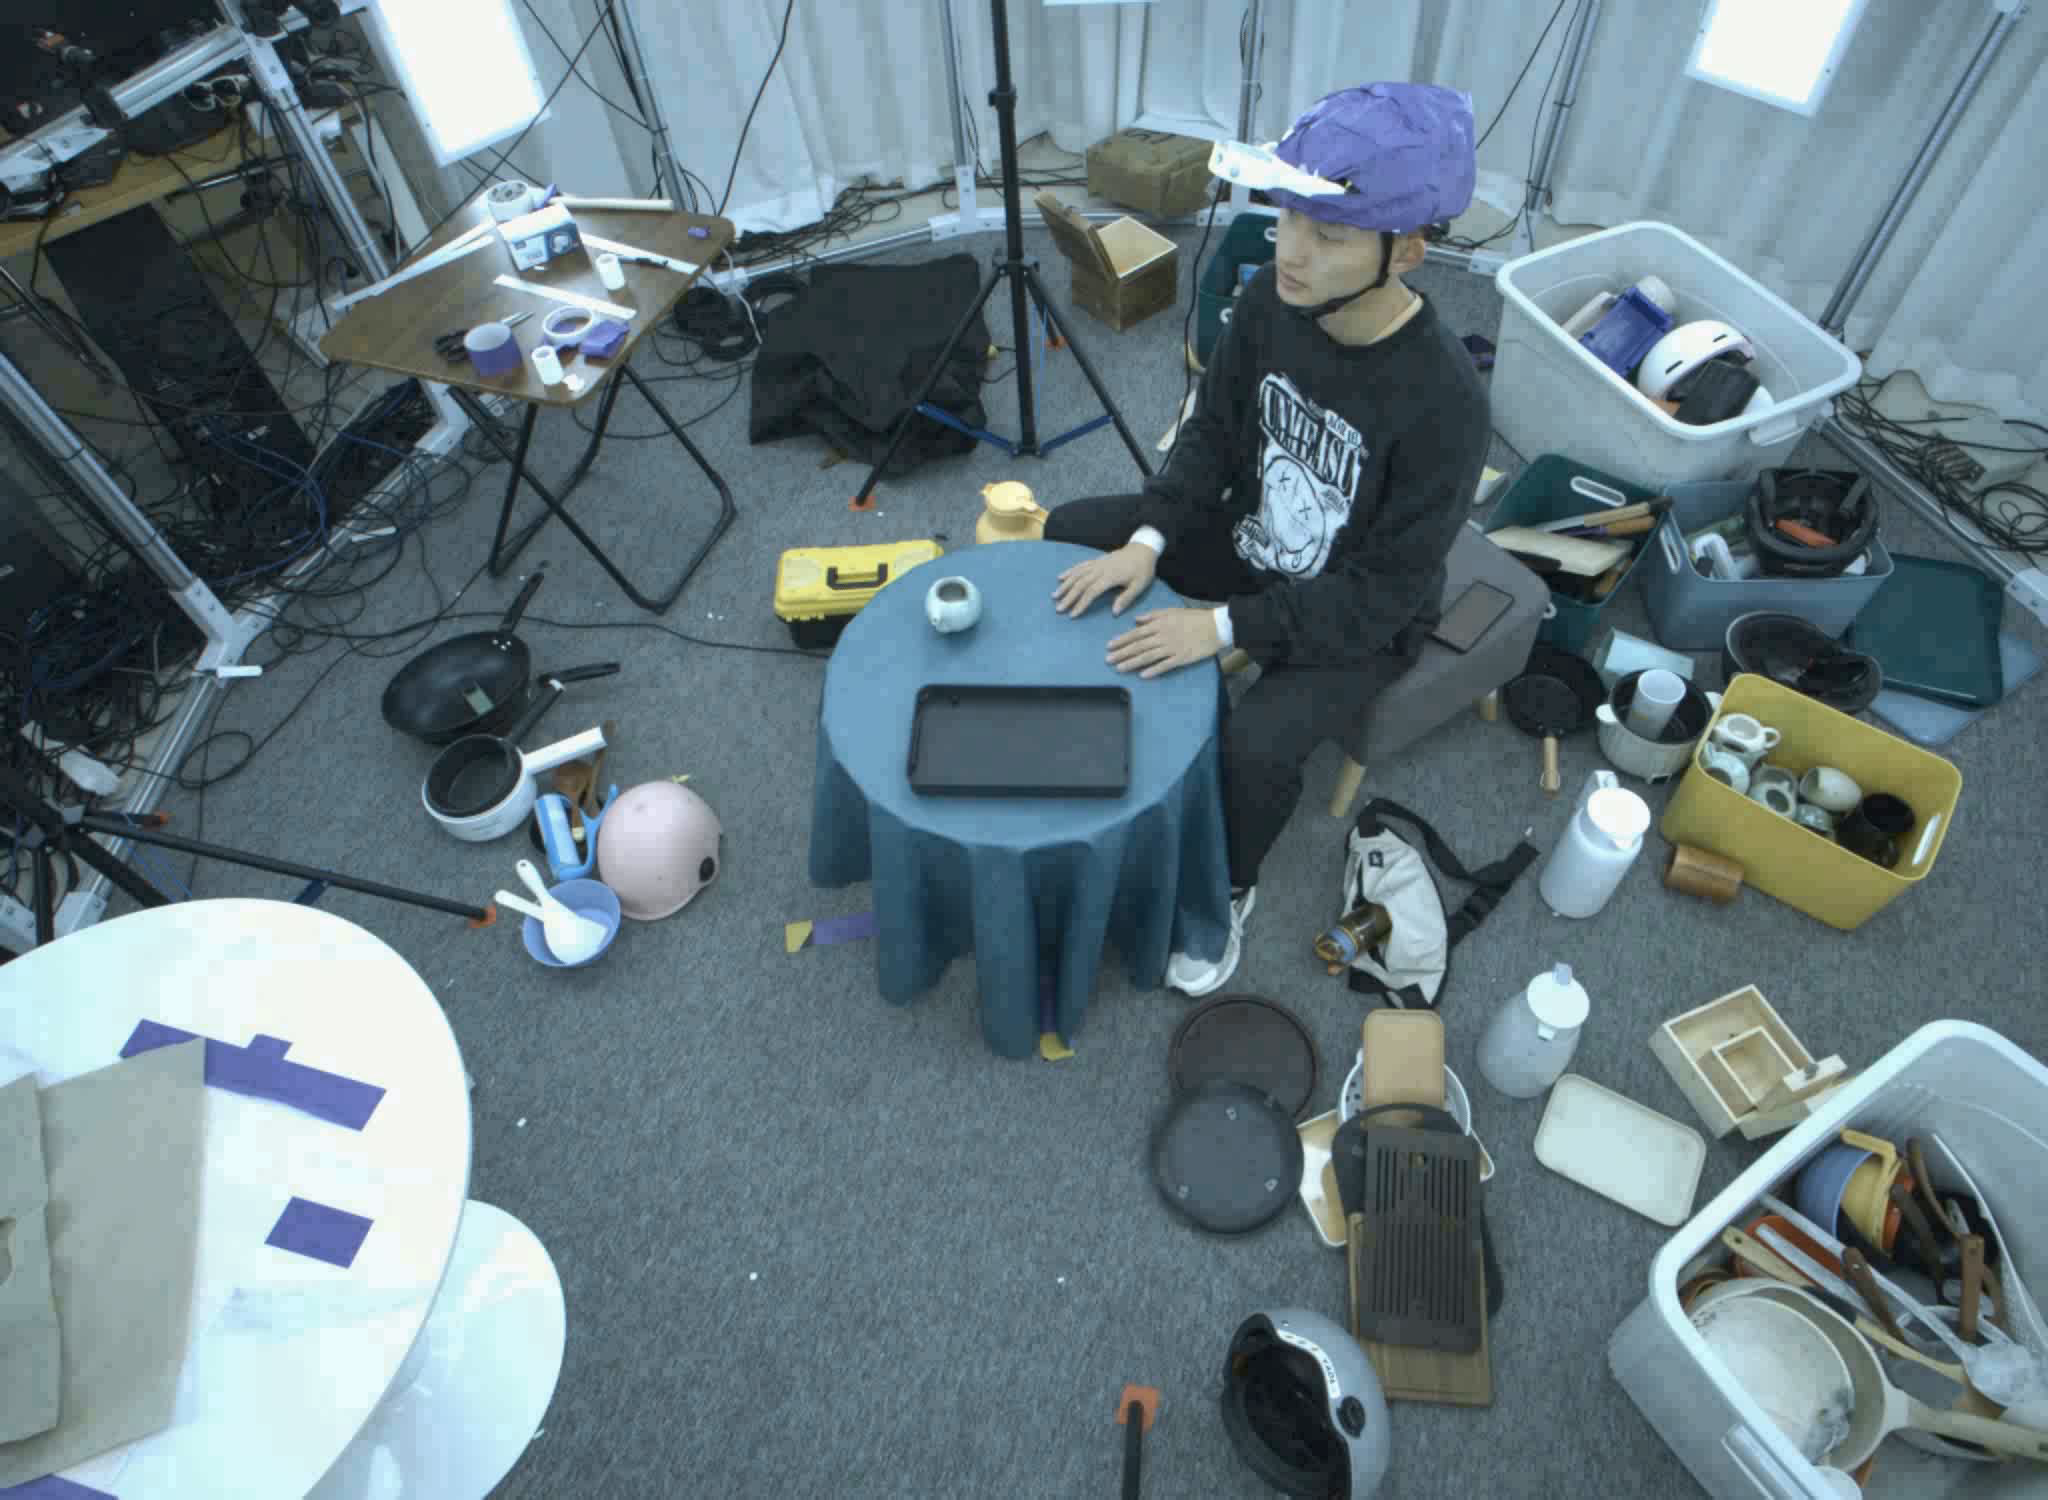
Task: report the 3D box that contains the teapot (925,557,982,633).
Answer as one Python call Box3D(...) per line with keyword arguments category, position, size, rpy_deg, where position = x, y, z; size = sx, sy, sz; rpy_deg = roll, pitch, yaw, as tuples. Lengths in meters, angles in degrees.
Box3D(category="teapot", position=(-0.110, -0.227, 1.904), size=(0.087, 0.075, 0.143), rpy_deg=(16, 58, 14))

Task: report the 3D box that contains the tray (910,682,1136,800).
Box3D(category="tray", position=(0.000, -0.014, 1.771), size=(0.318, 0.037, 0.182), rpy_deg=(-1, 54, 1))
